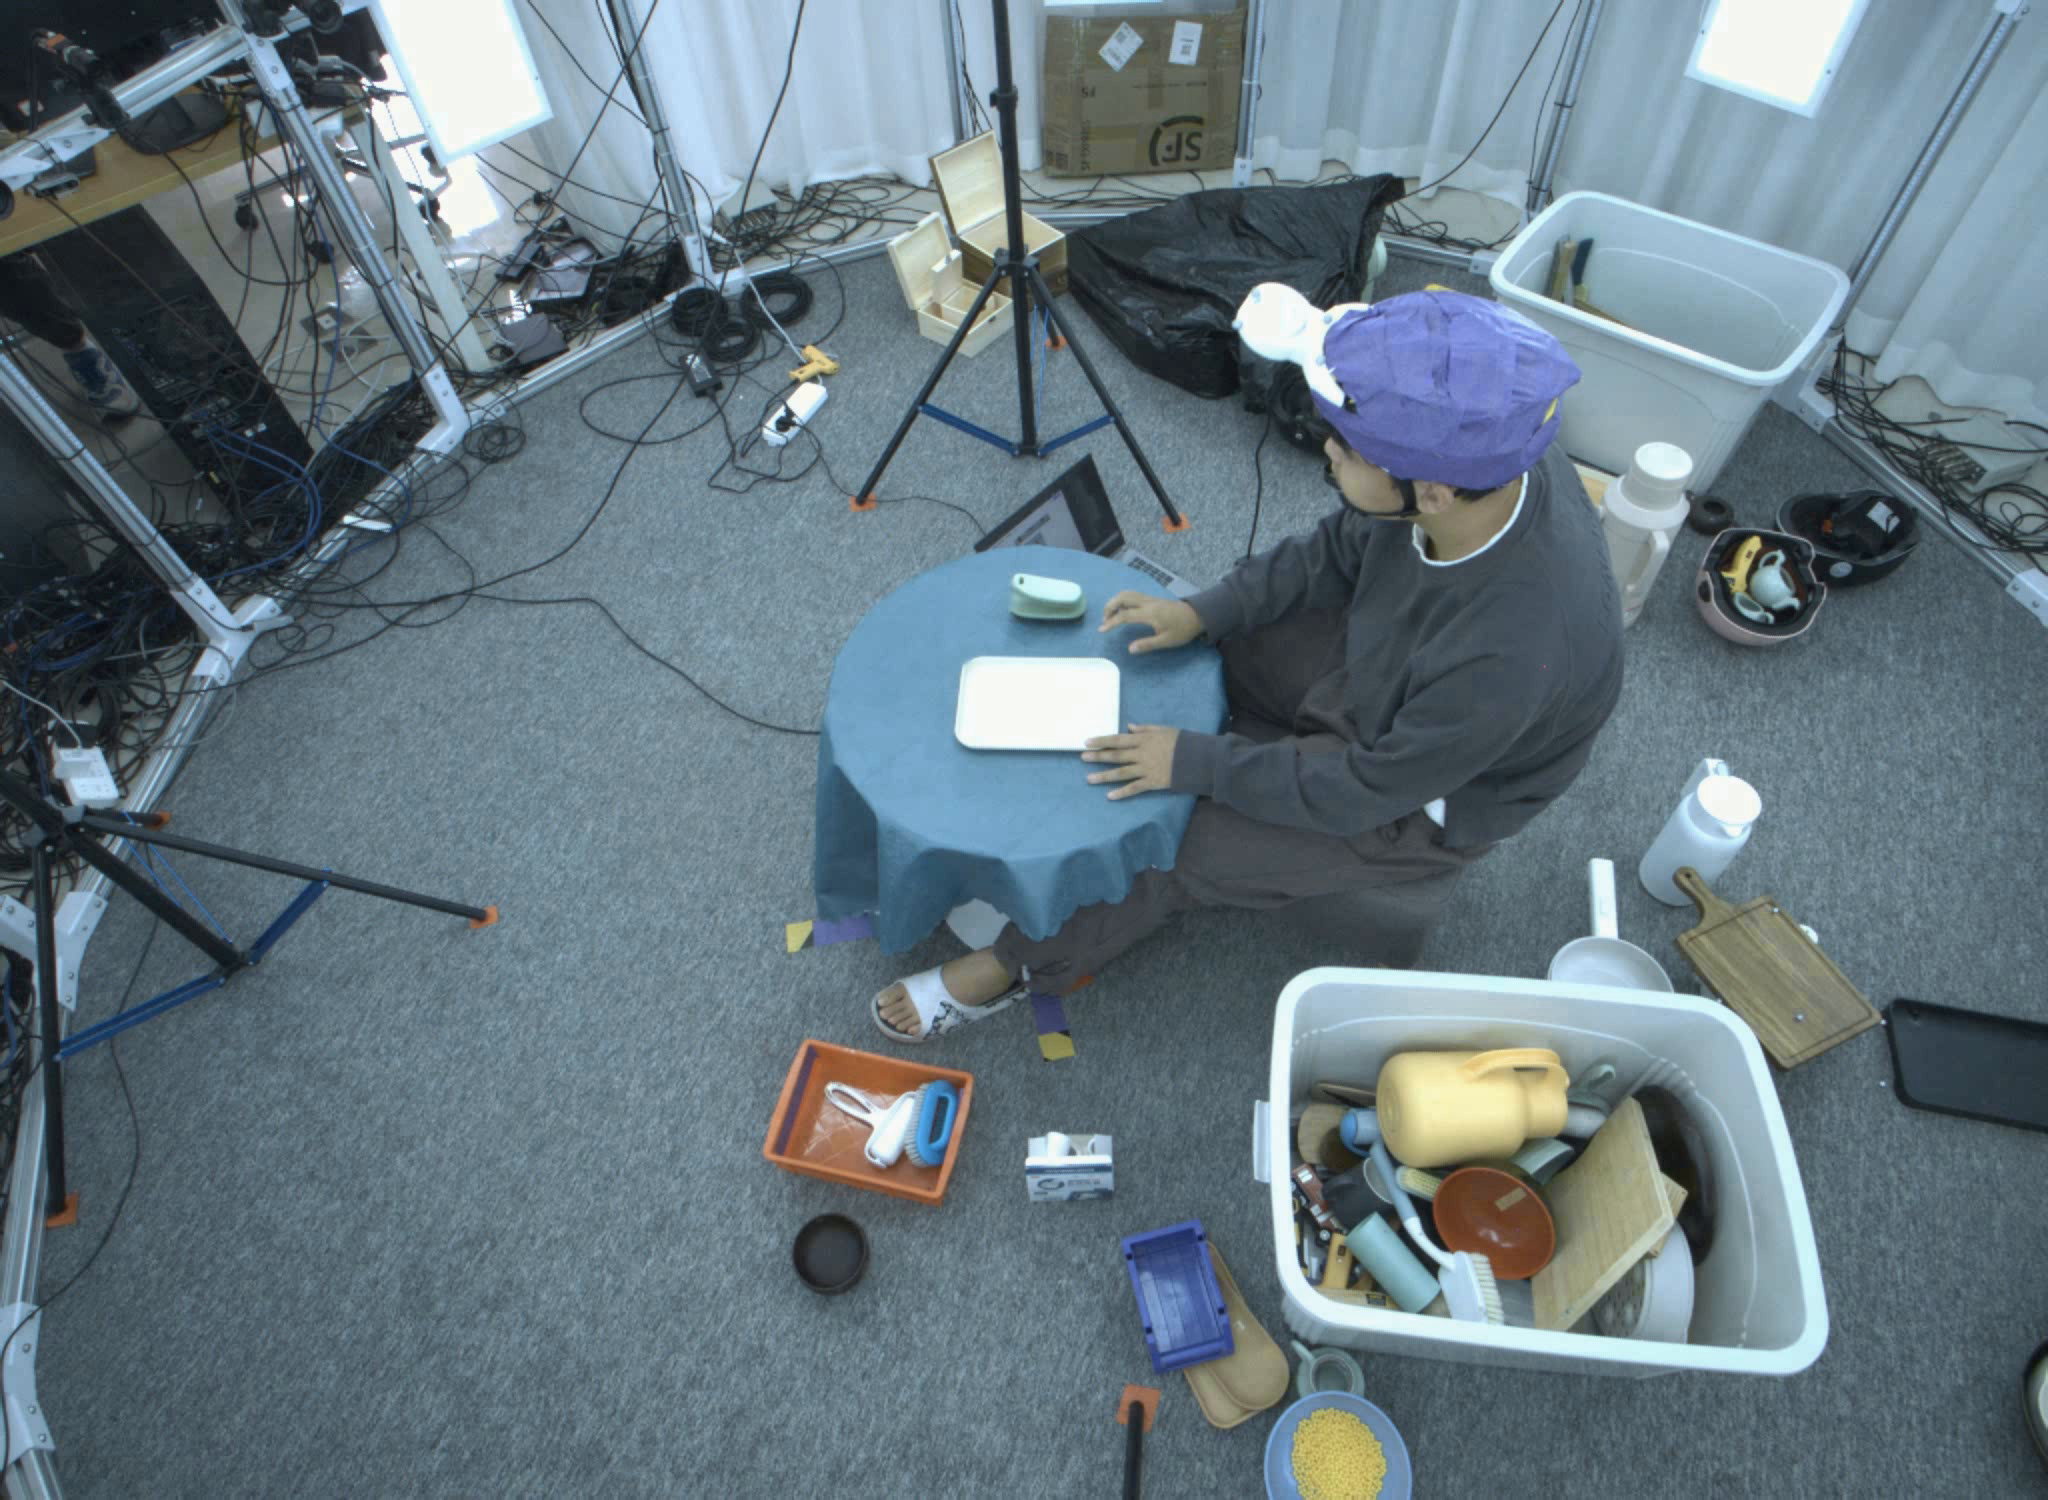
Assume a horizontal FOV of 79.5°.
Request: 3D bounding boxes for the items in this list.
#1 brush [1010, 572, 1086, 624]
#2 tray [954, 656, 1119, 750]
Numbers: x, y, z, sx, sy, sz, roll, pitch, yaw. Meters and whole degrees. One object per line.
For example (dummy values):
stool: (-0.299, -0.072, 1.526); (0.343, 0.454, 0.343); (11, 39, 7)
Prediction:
brush: (0.035, -0.234, 1.919); (0.124, 0.076, 0.059); (9, 56, -8)
tray: (0.020, -0.070, 1.825); (0.239, 0.017, 0.169); (2, 55, 2)
